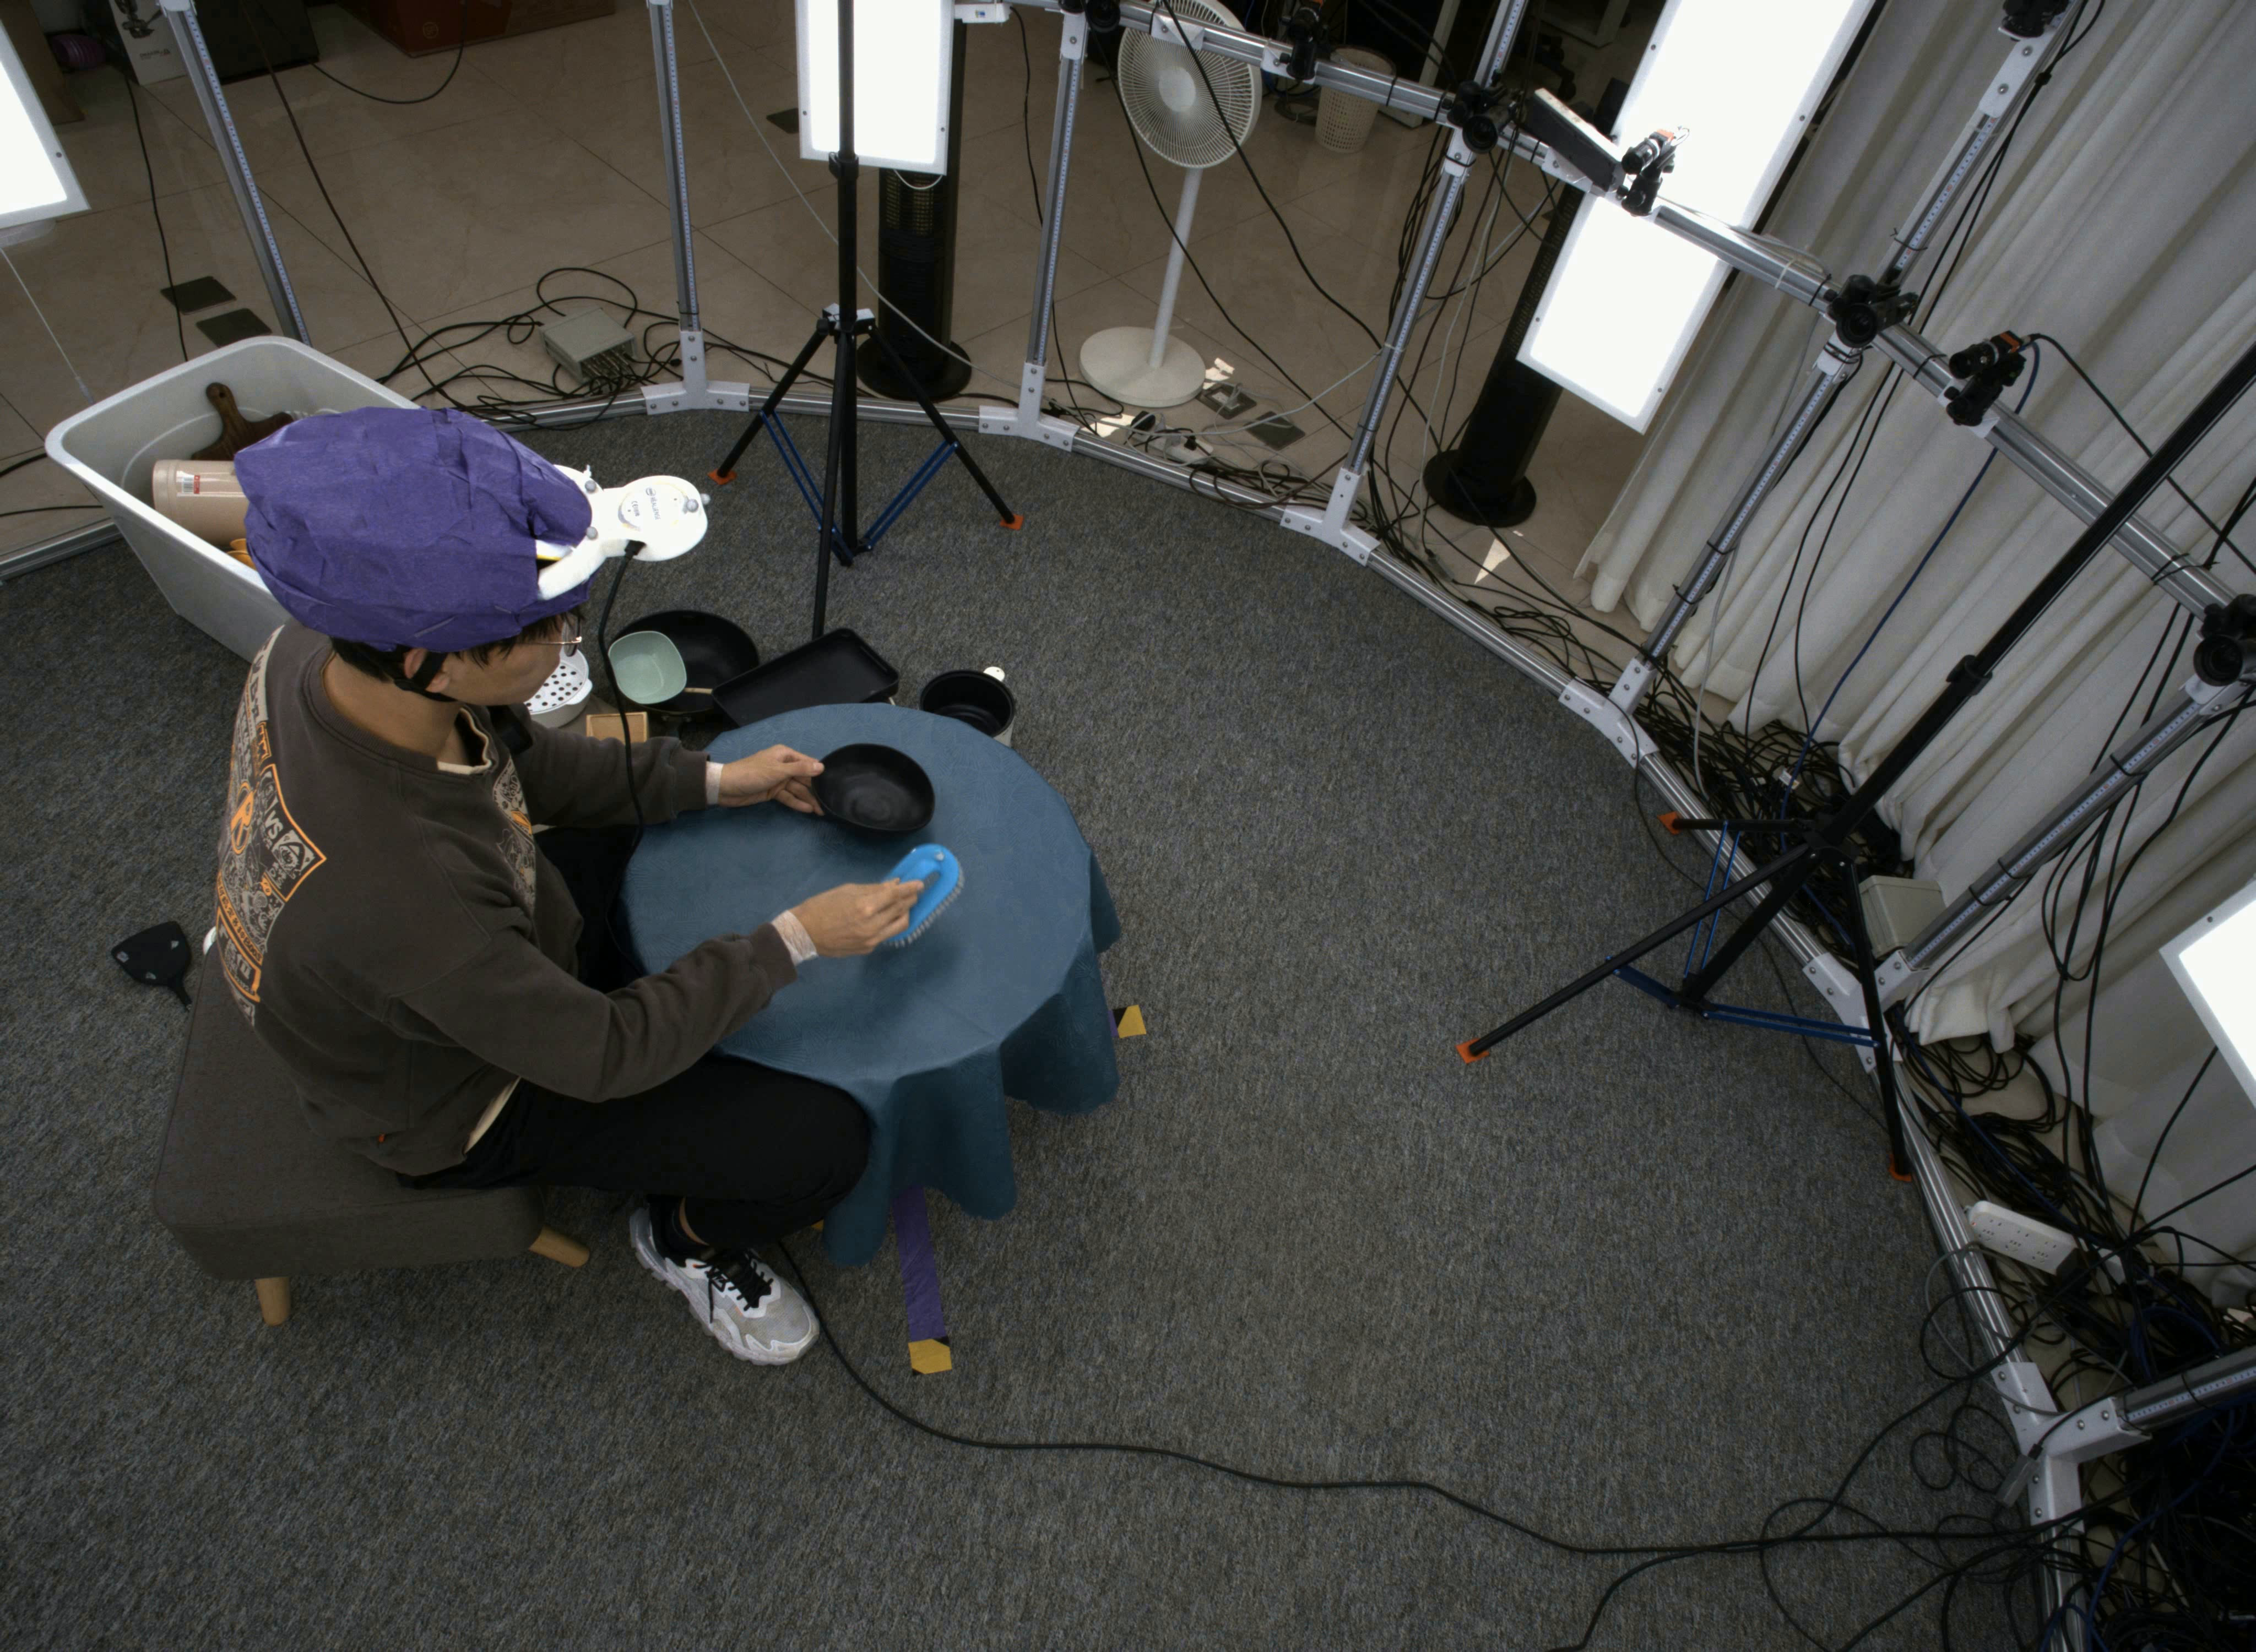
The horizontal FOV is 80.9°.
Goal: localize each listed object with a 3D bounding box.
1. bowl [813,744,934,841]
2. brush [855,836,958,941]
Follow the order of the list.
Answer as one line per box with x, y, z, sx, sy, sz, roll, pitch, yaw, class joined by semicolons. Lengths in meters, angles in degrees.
-0.340;-0.034;1.744;0.168;0.068;0.136;24;53;3;bowl
-0.270;0.075;1.588;0.083;0.064;0.142;44;82;8;brush
